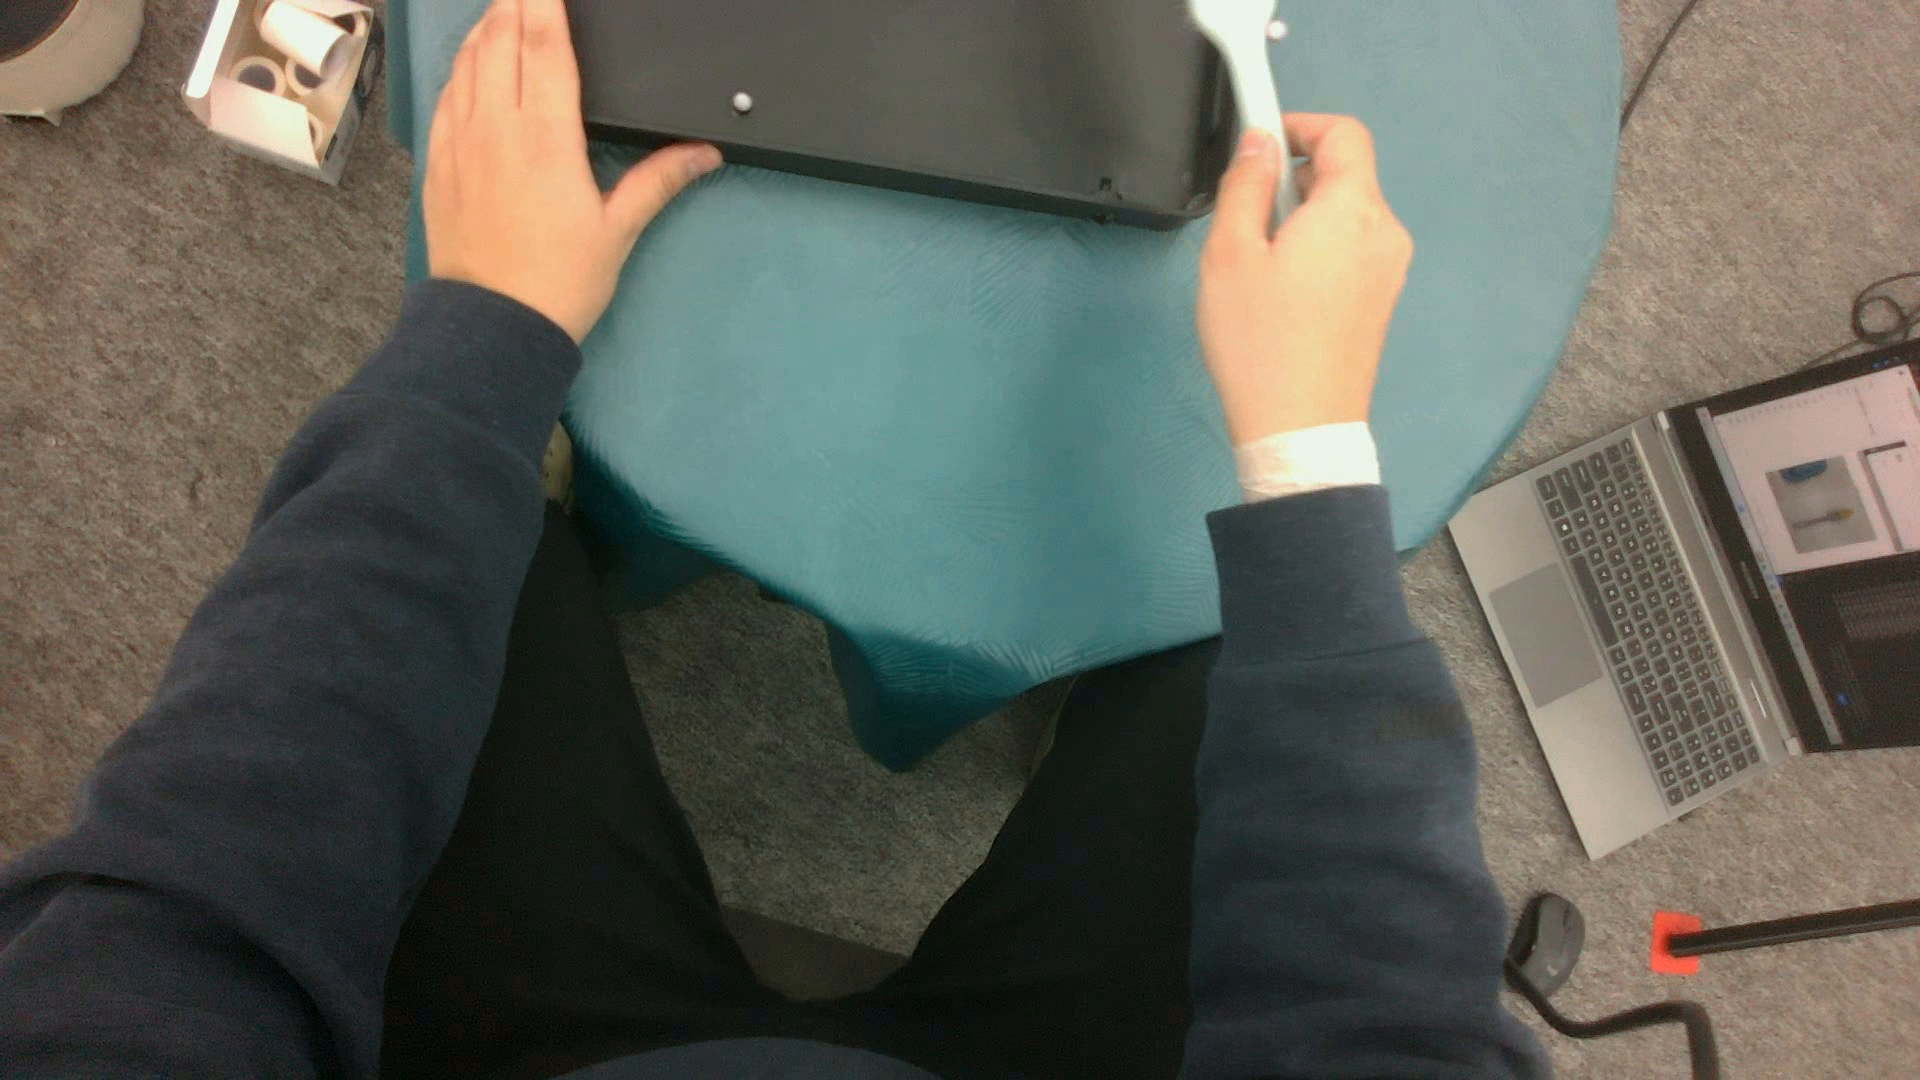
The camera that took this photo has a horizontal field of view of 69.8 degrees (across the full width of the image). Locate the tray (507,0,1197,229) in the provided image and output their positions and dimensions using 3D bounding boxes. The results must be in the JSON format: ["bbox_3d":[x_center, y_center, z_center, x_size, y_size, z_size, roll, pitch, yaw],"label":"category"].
[{"bbox_3d":[-0.045,-0.246,0.651,0.318,0.037,0.184,1,87,-10],"label":"tray"}]

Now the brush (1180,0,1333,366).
[{"bbox_3d":[0.124,-0.187,0.585,0.038,0.050,0.228,-15,95,13],"label":"brush"}]
